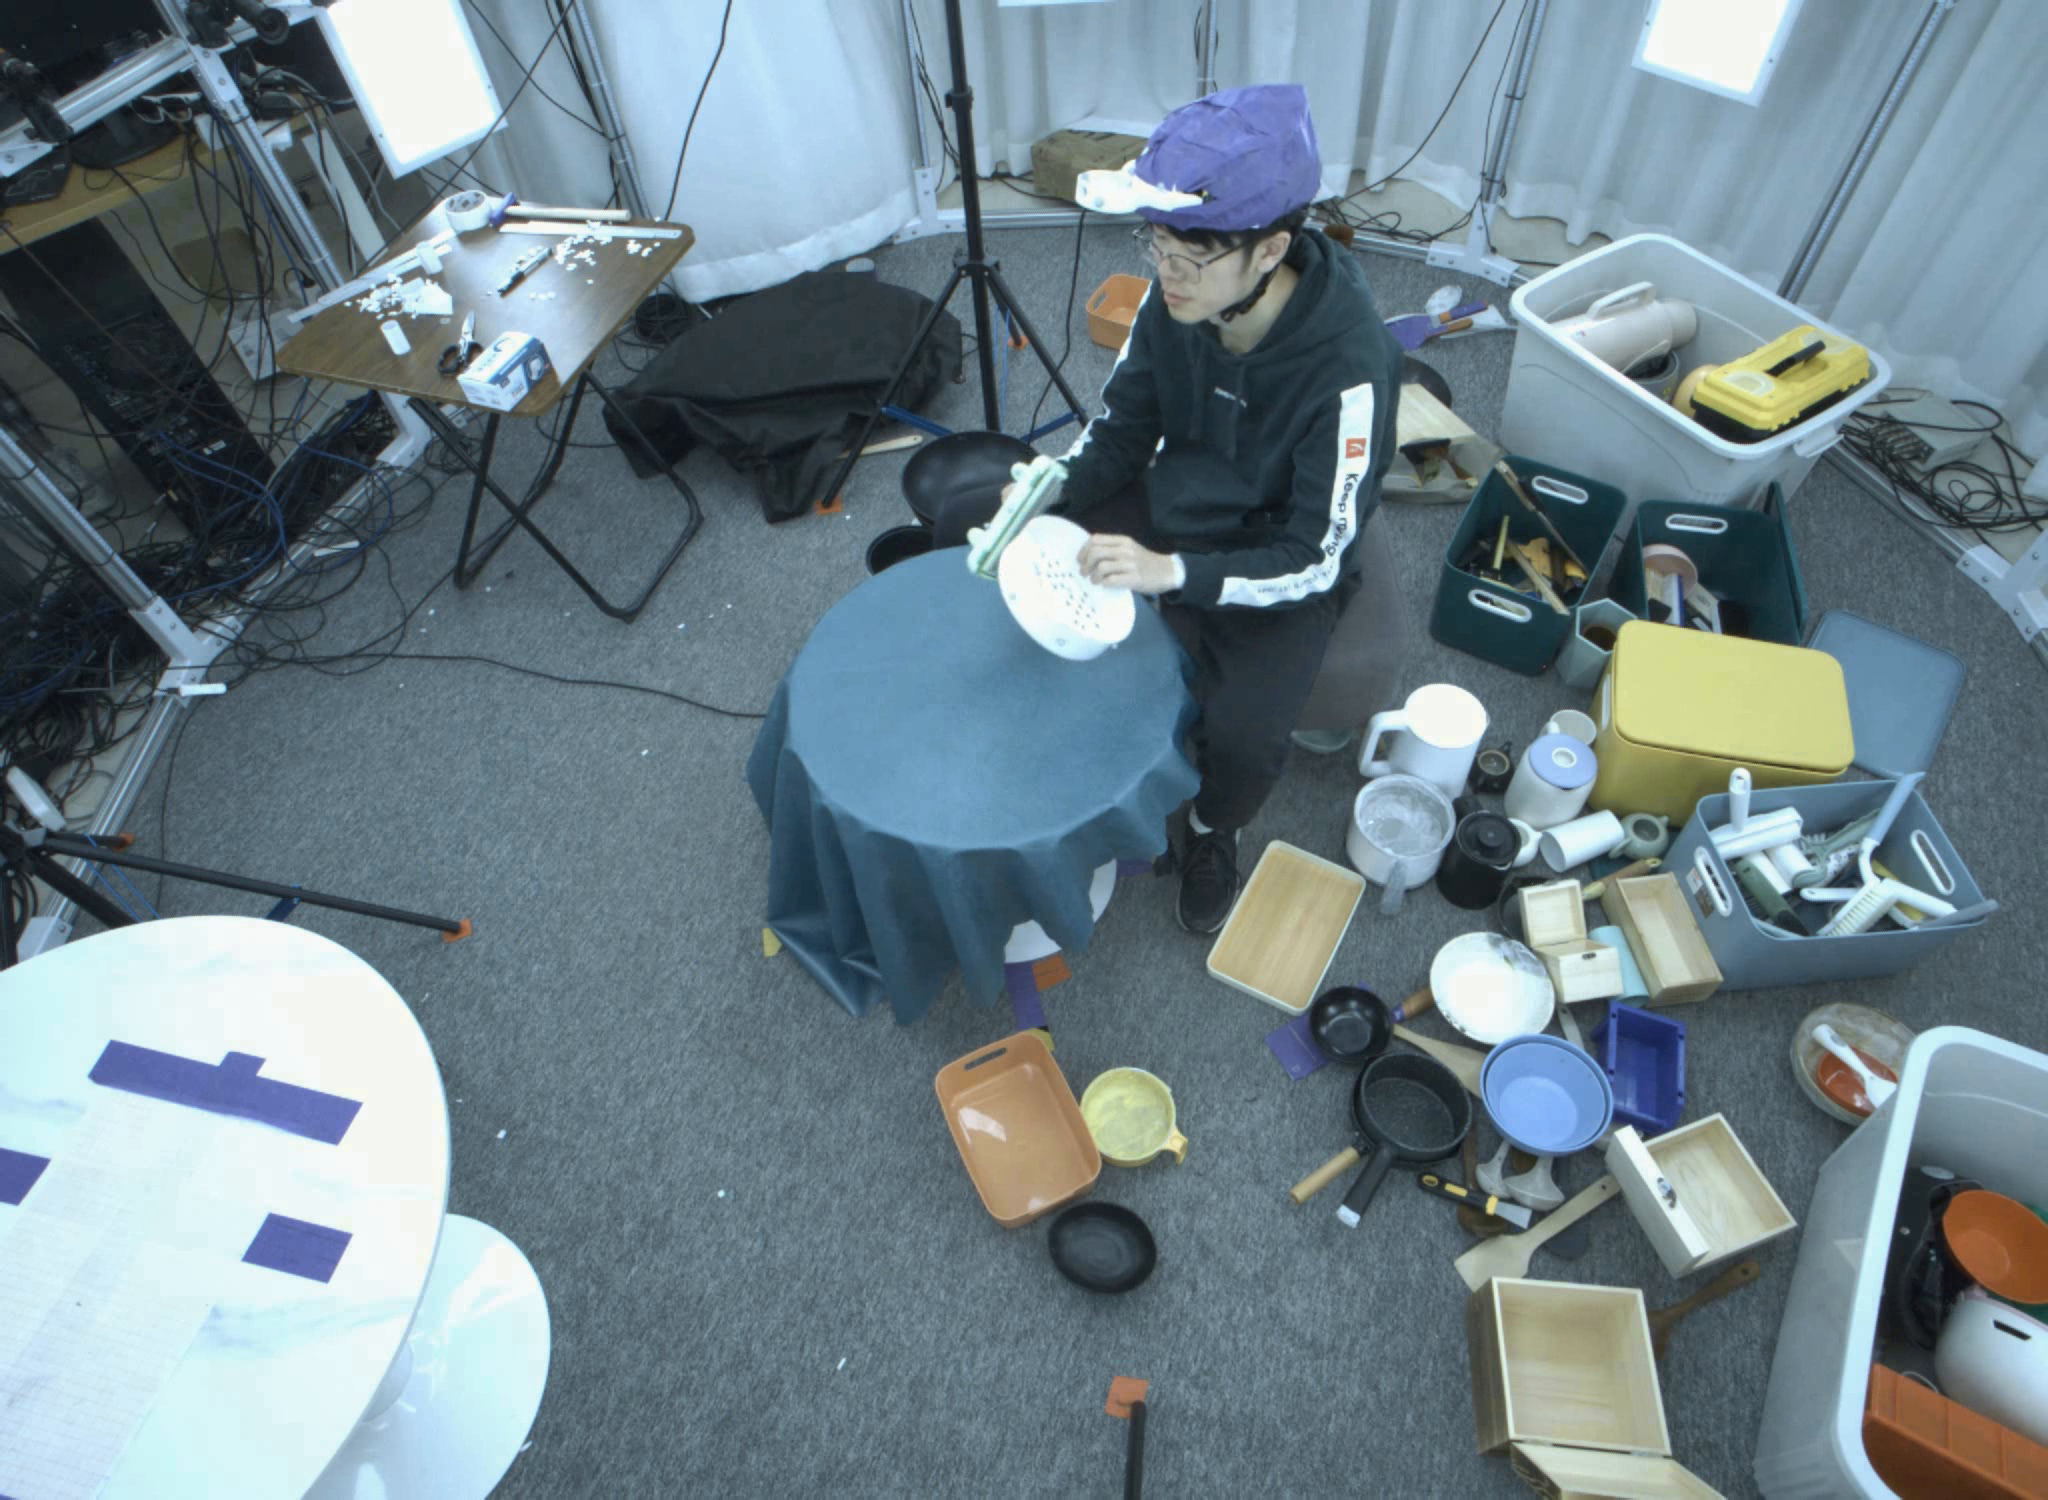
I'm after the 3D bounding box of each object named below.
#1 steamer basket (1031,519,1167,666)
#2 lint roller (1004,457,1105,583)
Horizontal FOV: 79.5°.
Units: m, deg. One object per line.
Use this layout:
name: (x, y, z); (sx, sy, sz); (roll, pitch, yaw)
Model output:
steamer basket: (0.098, -0.208, 1.644); (0.202, 0.068, 0.233); (55, 40, -3)
lint roller: (0.042, -0.355, 1.812); (0.083, 0.198, 0.182); (33, 21, -8)
